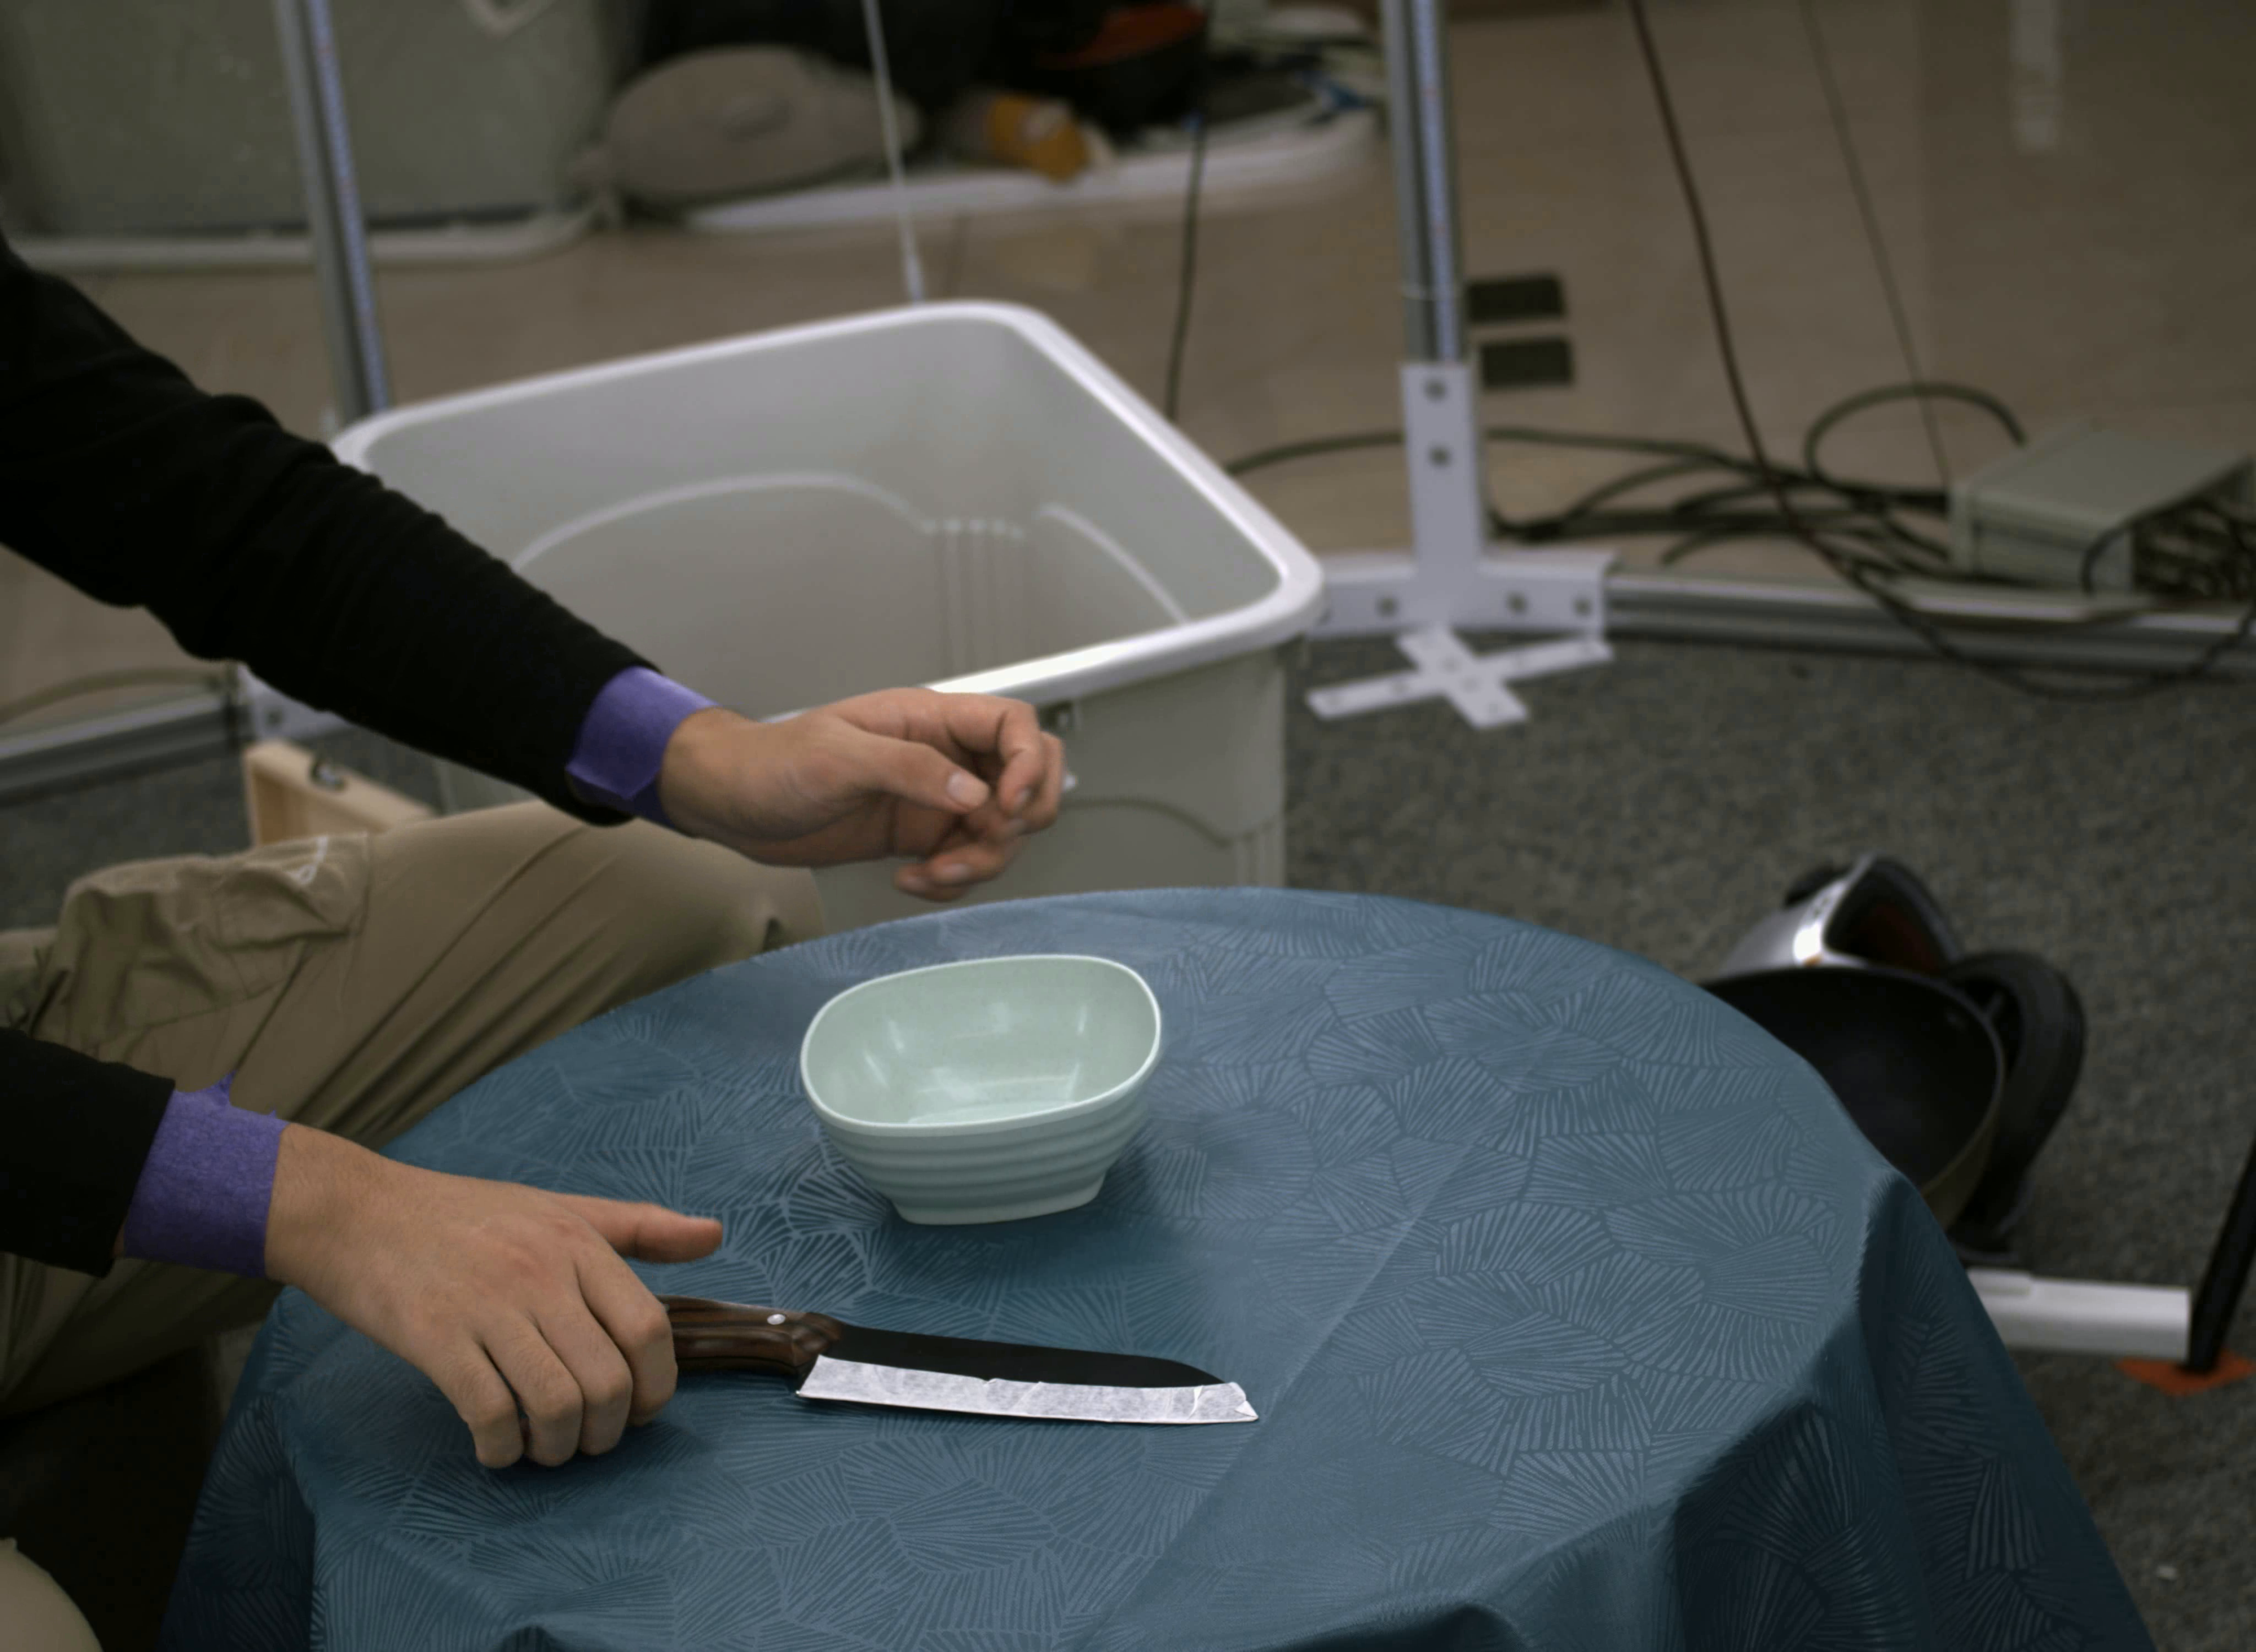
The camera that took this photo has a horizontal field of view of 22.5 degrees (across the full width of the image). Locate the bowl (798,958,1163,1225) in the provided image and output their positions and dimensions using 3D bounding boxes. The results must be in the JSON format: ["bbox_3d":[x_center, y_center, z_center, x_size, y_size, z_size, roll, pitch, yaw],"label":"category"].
[{"bbox_3d":[-0.054,0.107,2.165,0.151,0.059,0.149,-3,25,2],"label":"bowl"}]

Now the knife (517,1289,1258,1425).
[{"bbox_3d":[-0.090,0.193,2.040,0.288,0.020,0.049,5,32,18],"label":"knife"}]
